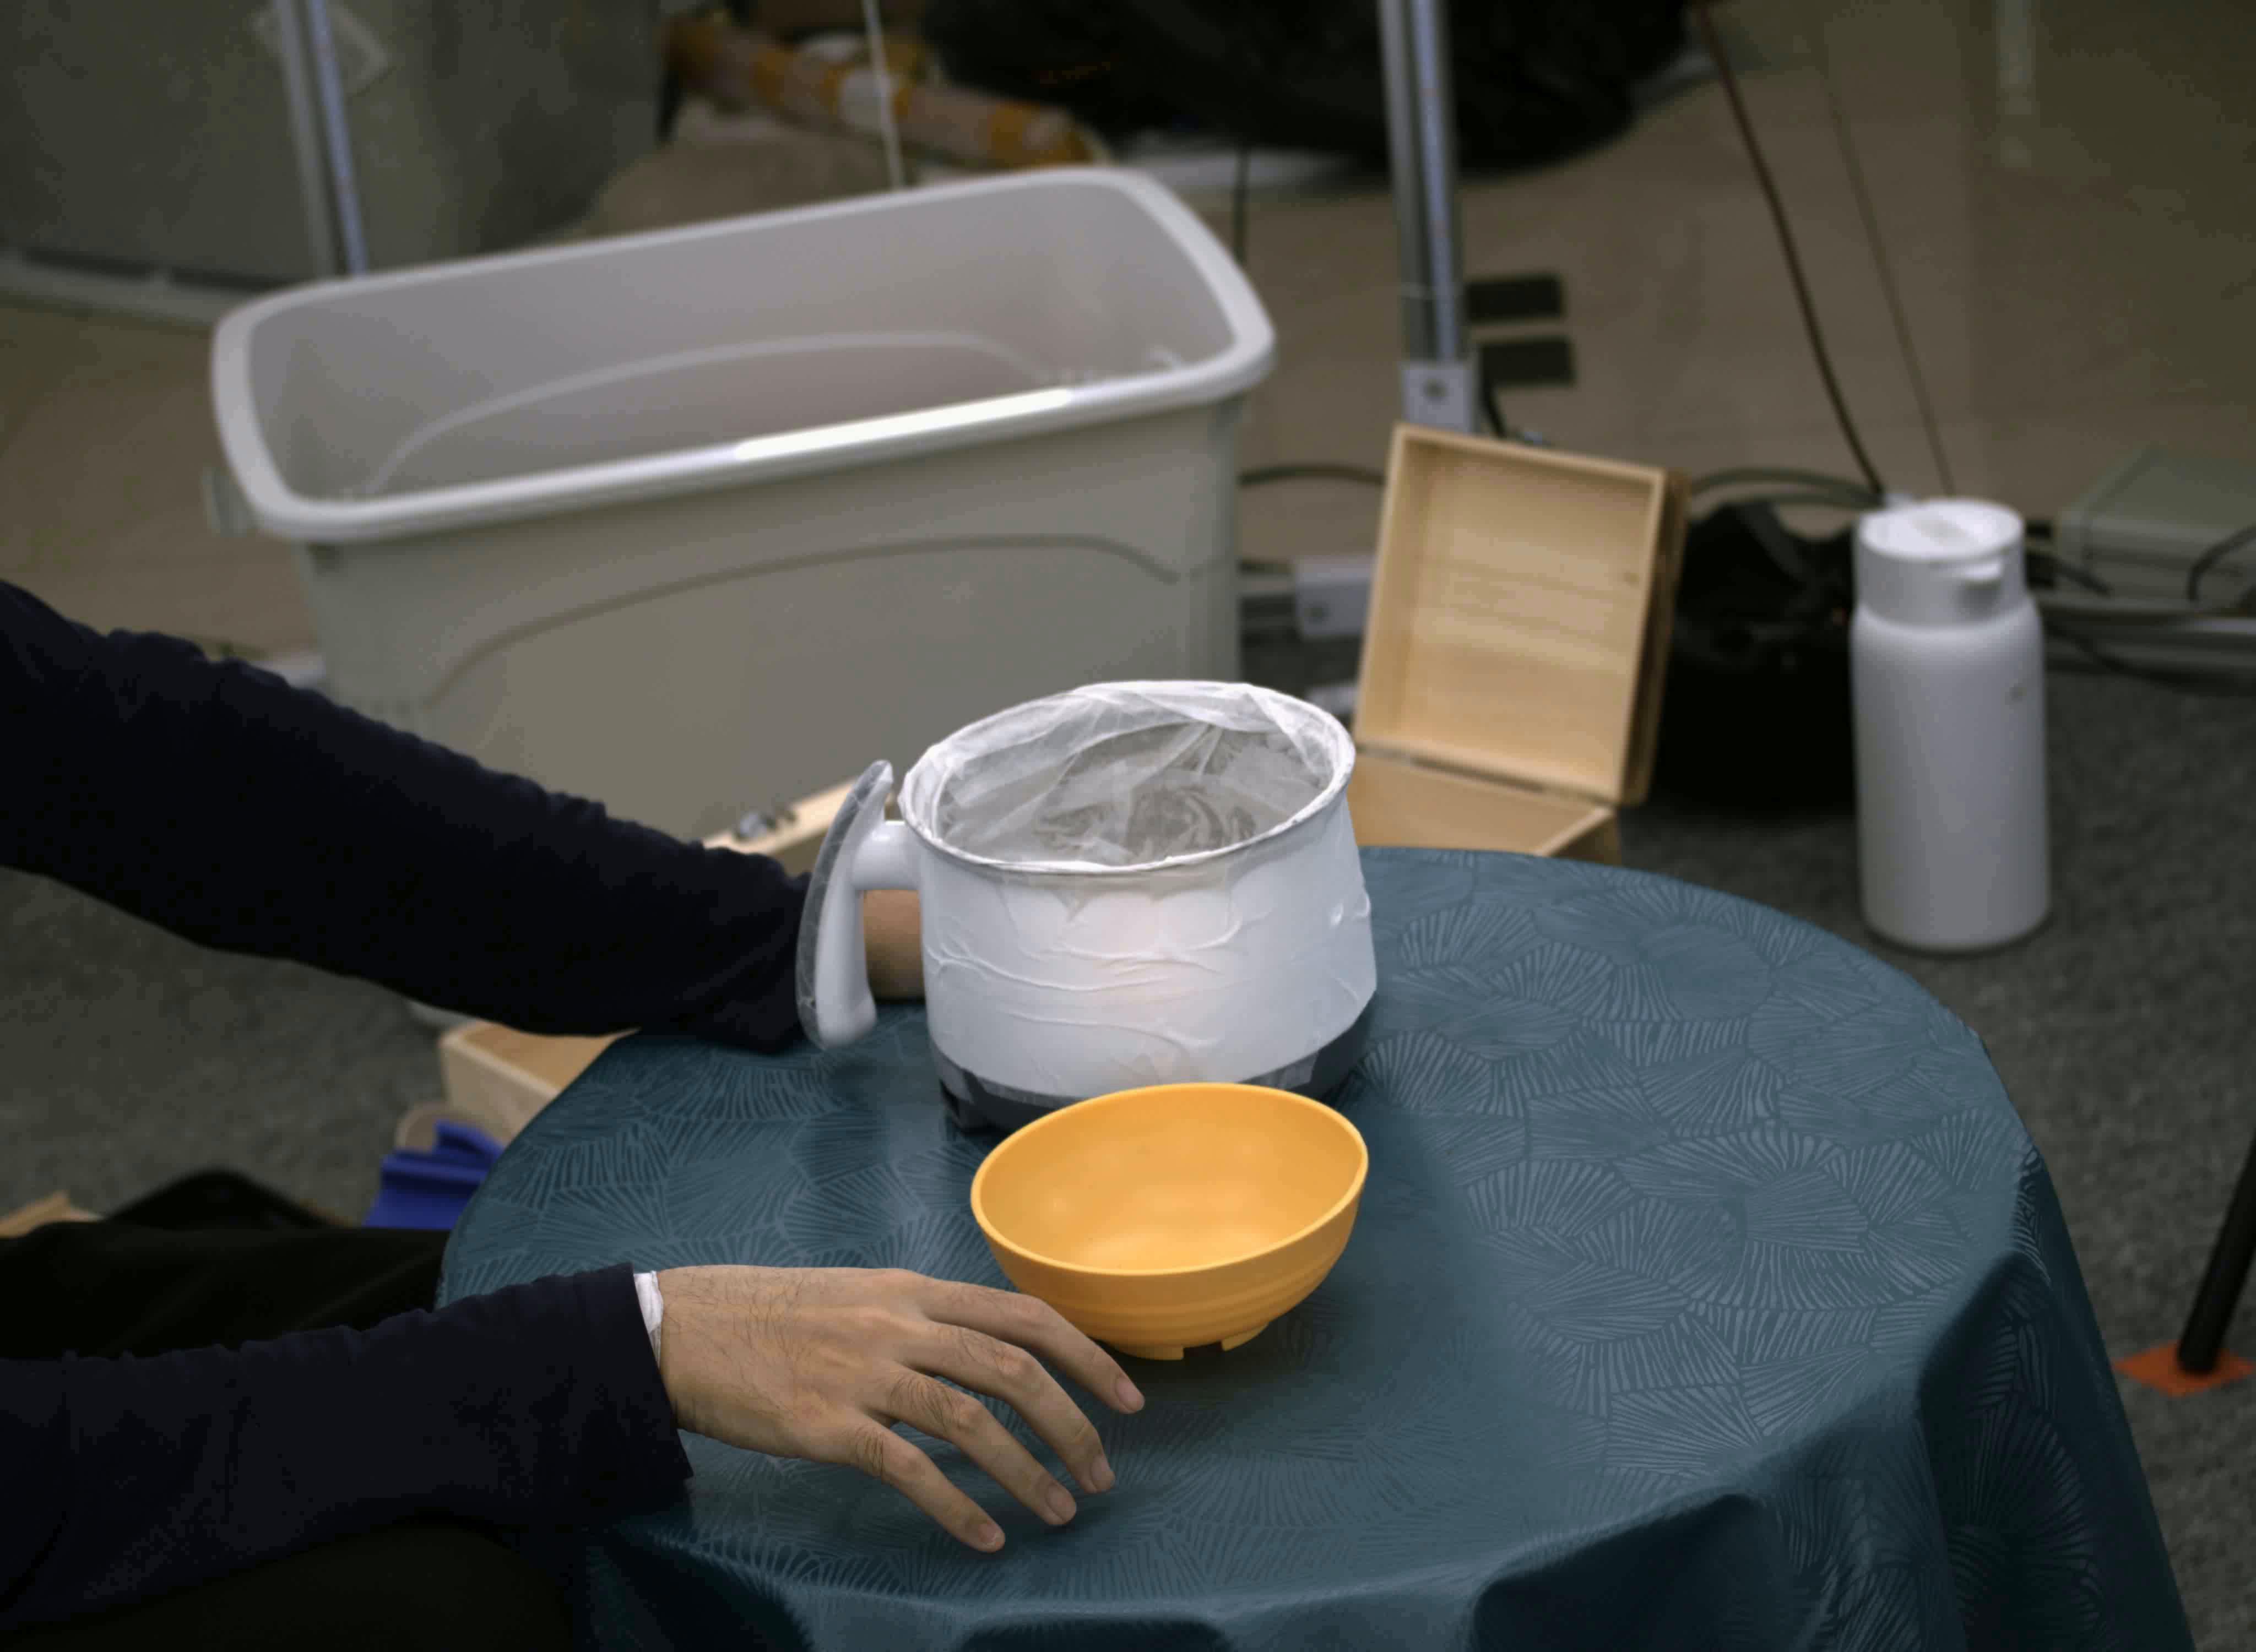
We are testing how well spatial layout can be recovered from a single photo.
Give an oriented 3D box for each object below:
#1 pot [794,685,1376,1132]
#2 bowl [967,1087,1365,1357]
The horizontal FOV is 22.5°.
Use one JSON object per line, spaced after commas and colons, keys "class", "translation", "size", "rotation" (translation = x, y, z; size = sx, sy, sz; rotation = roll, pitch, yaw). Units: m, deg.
{"class": "pot", "translation": [-0.020, 0.036, 2.212], "size": [0.233, 0.138, 0.176], "rotation": [0, 23, 13]}
{"class": "bowl", "translation": [0.016, 0.150, 2.048], "size": [0.145, 0.061, 0.143], "rotation": [-4, 24, 2]}
